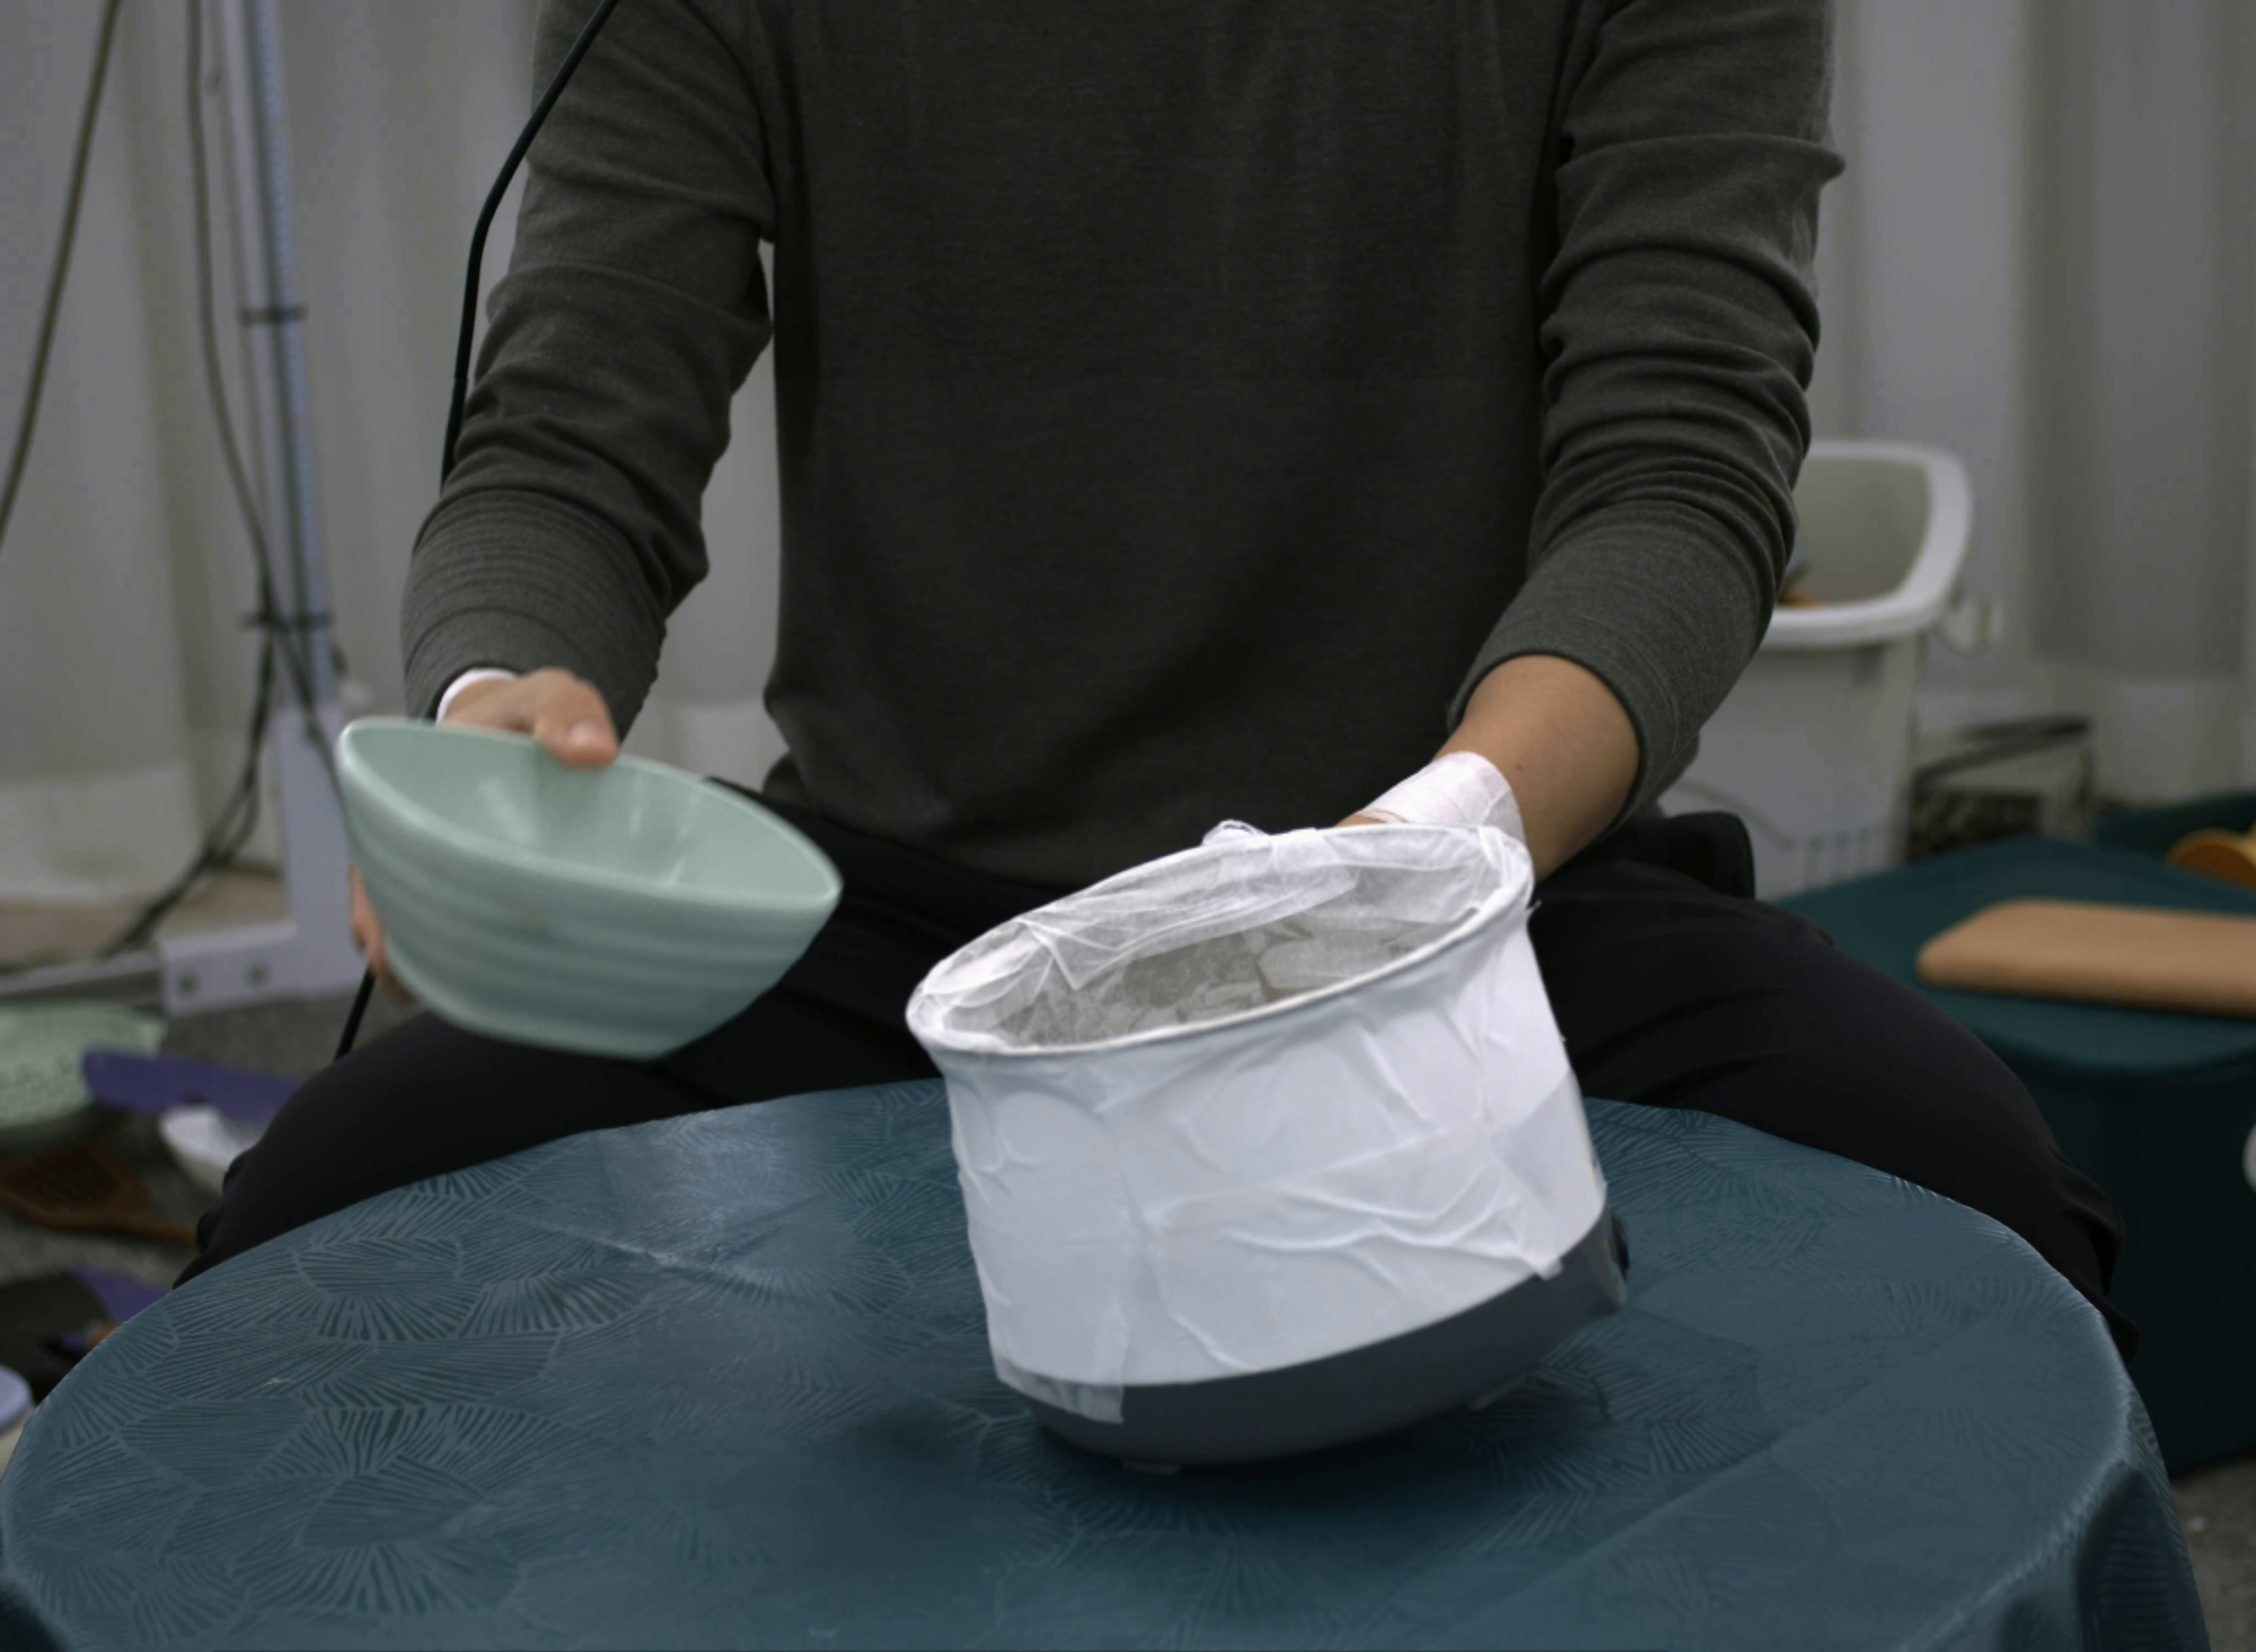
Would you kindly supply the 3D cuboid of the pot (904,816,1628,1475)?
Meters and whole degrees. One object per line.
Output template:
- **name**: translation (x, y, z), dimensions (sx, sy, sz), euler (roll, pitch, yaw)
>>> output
- **pot**: translation (0.040, 0.081, 1.536), dimensions (0.178, 0.136, 0.235), euler (-13, 14, 5)

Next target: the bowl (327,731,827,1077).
- **bowl**: translation (-0.161, 0.027, 1.537), dimensions (0.151, 0.058, 0.152), euler (16, 14, -4)
